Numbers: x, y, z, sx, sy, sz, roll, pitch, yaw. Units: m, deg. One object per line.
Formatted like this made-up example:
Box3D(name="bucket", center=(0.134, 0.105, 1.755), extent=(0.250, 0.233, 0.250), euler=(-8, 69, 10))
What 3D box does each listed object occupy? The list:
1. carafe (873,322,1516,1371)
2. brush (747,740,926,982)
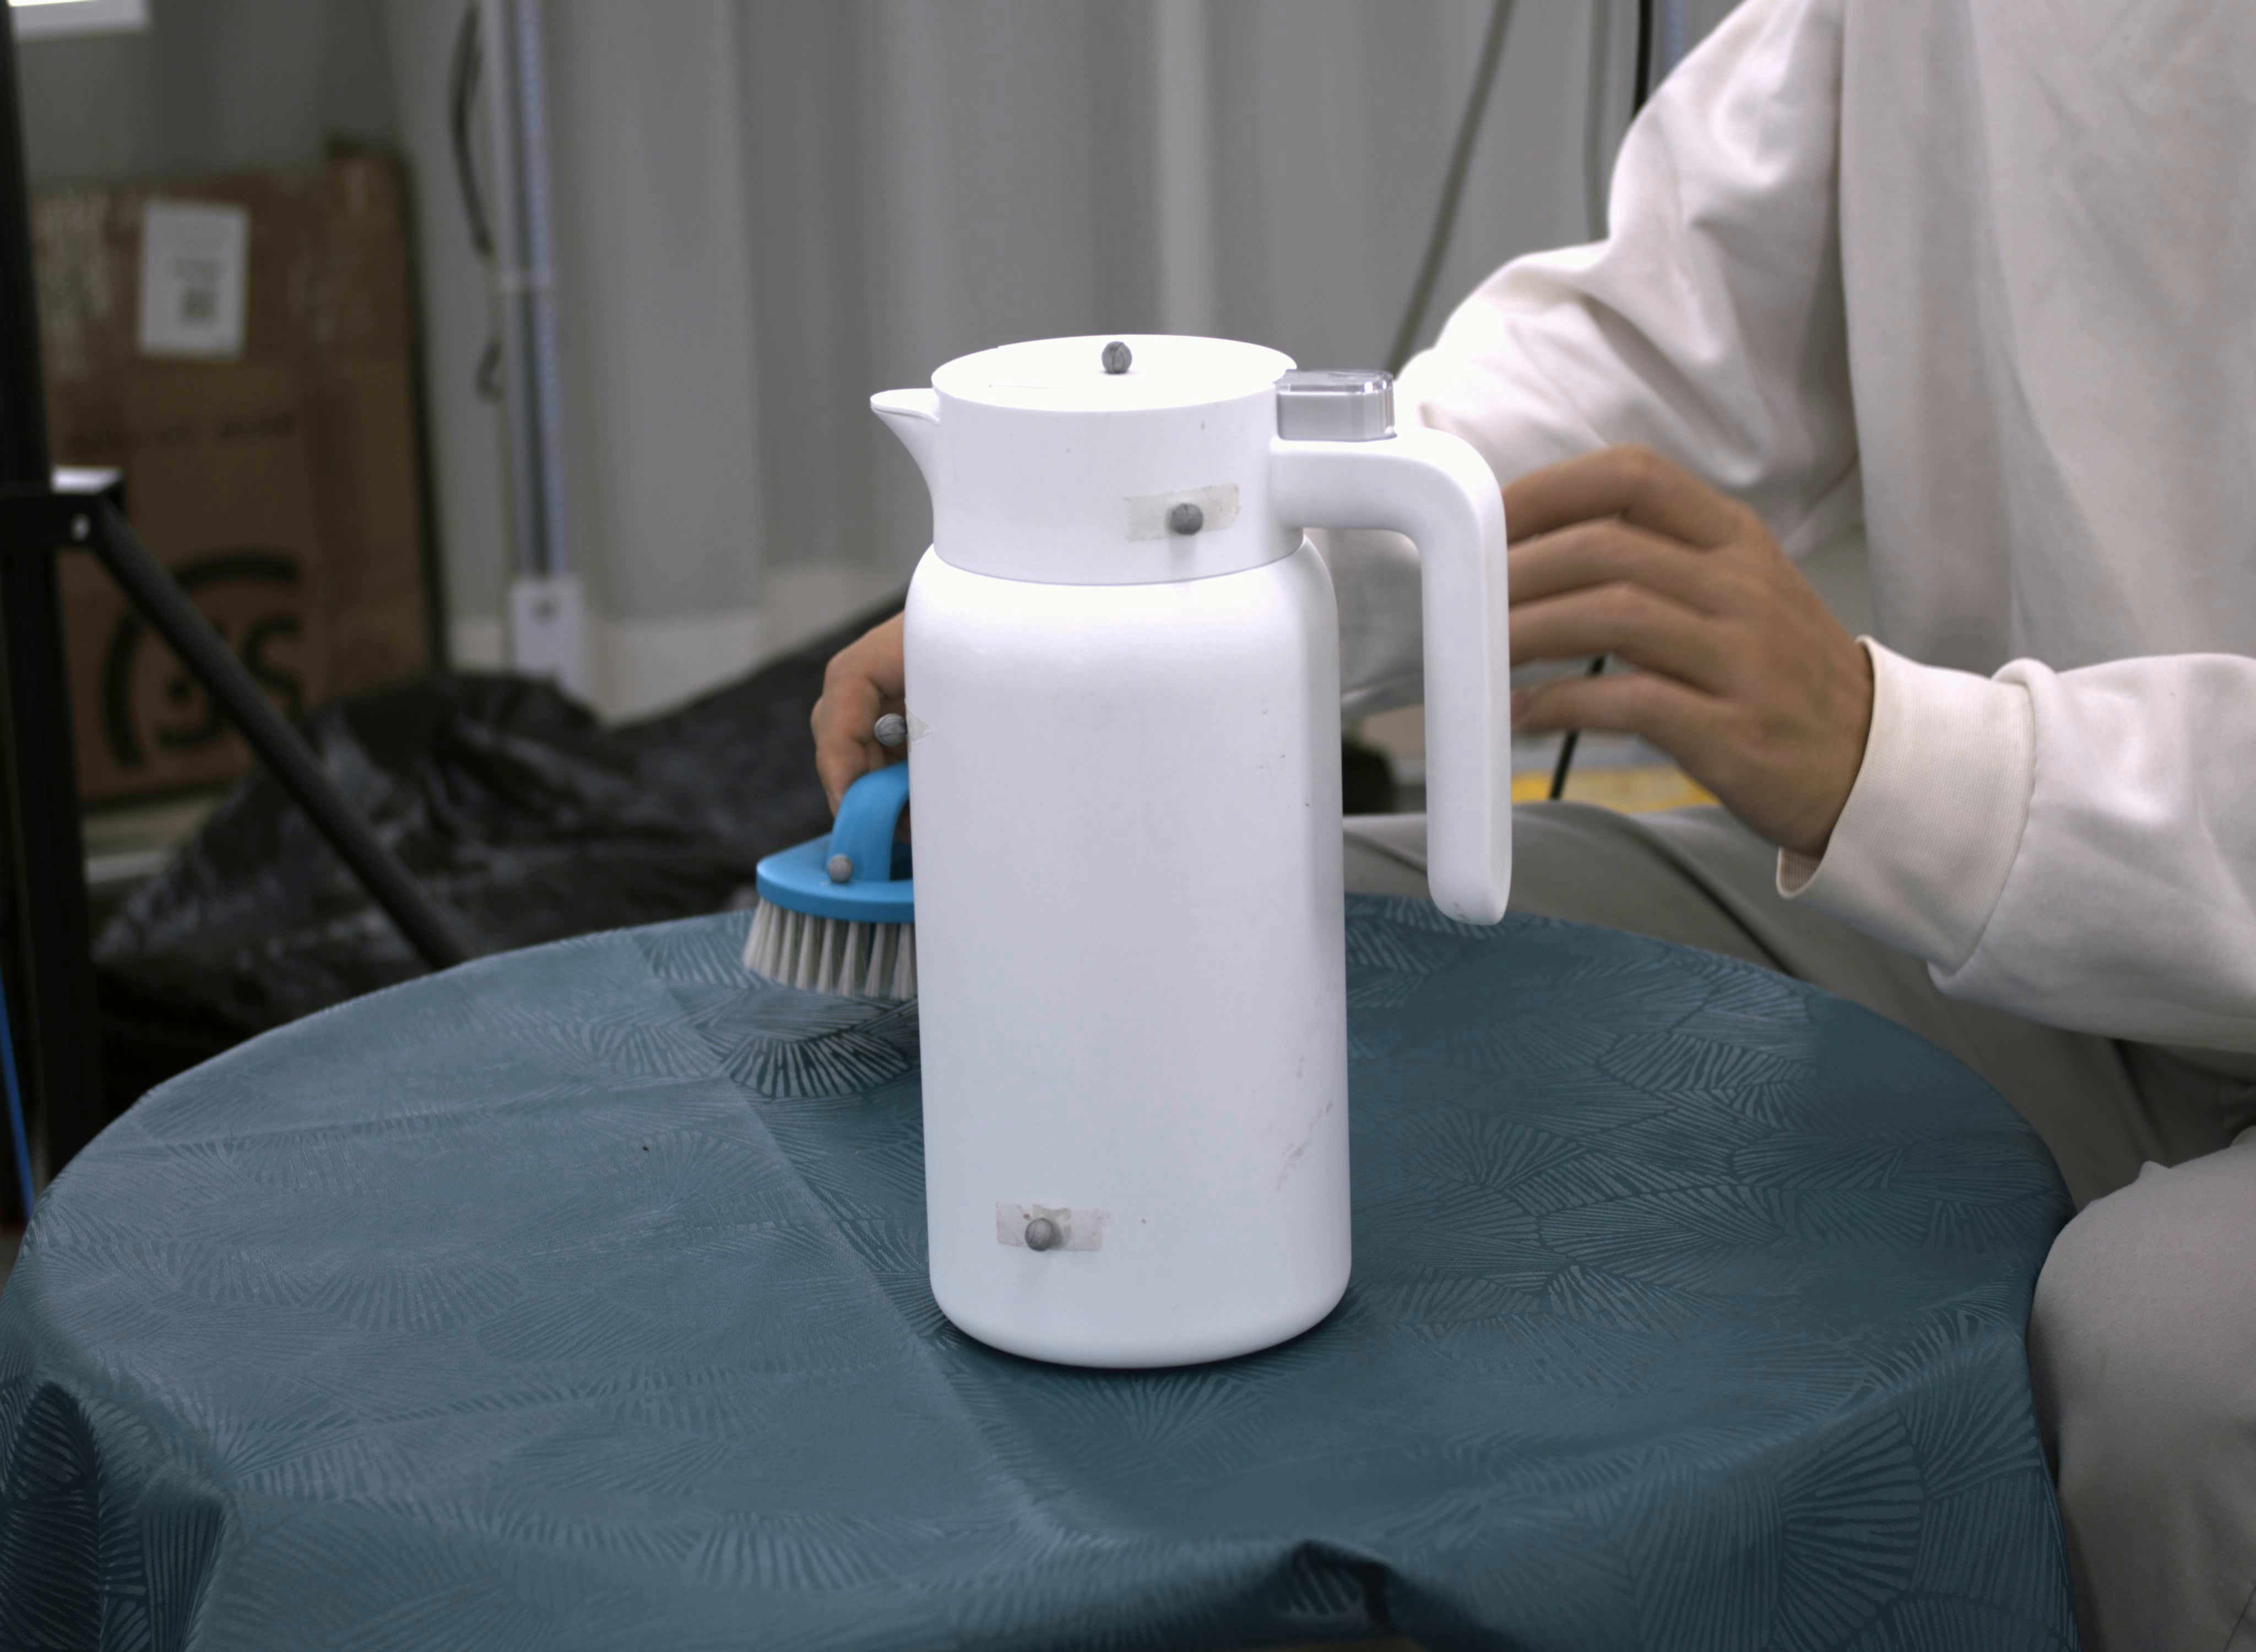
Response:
Box3D(name="carafe", center=(0.018, 0.006, 1.432), extent=(0.174, 0.269, 0.122), euler=(3, 14, 16))
Box3D(name="brush", center=(-0.068, 0.007, 1.714), extent=(0.085, 0.064, 0.139), euler=(5, 12, 24))
